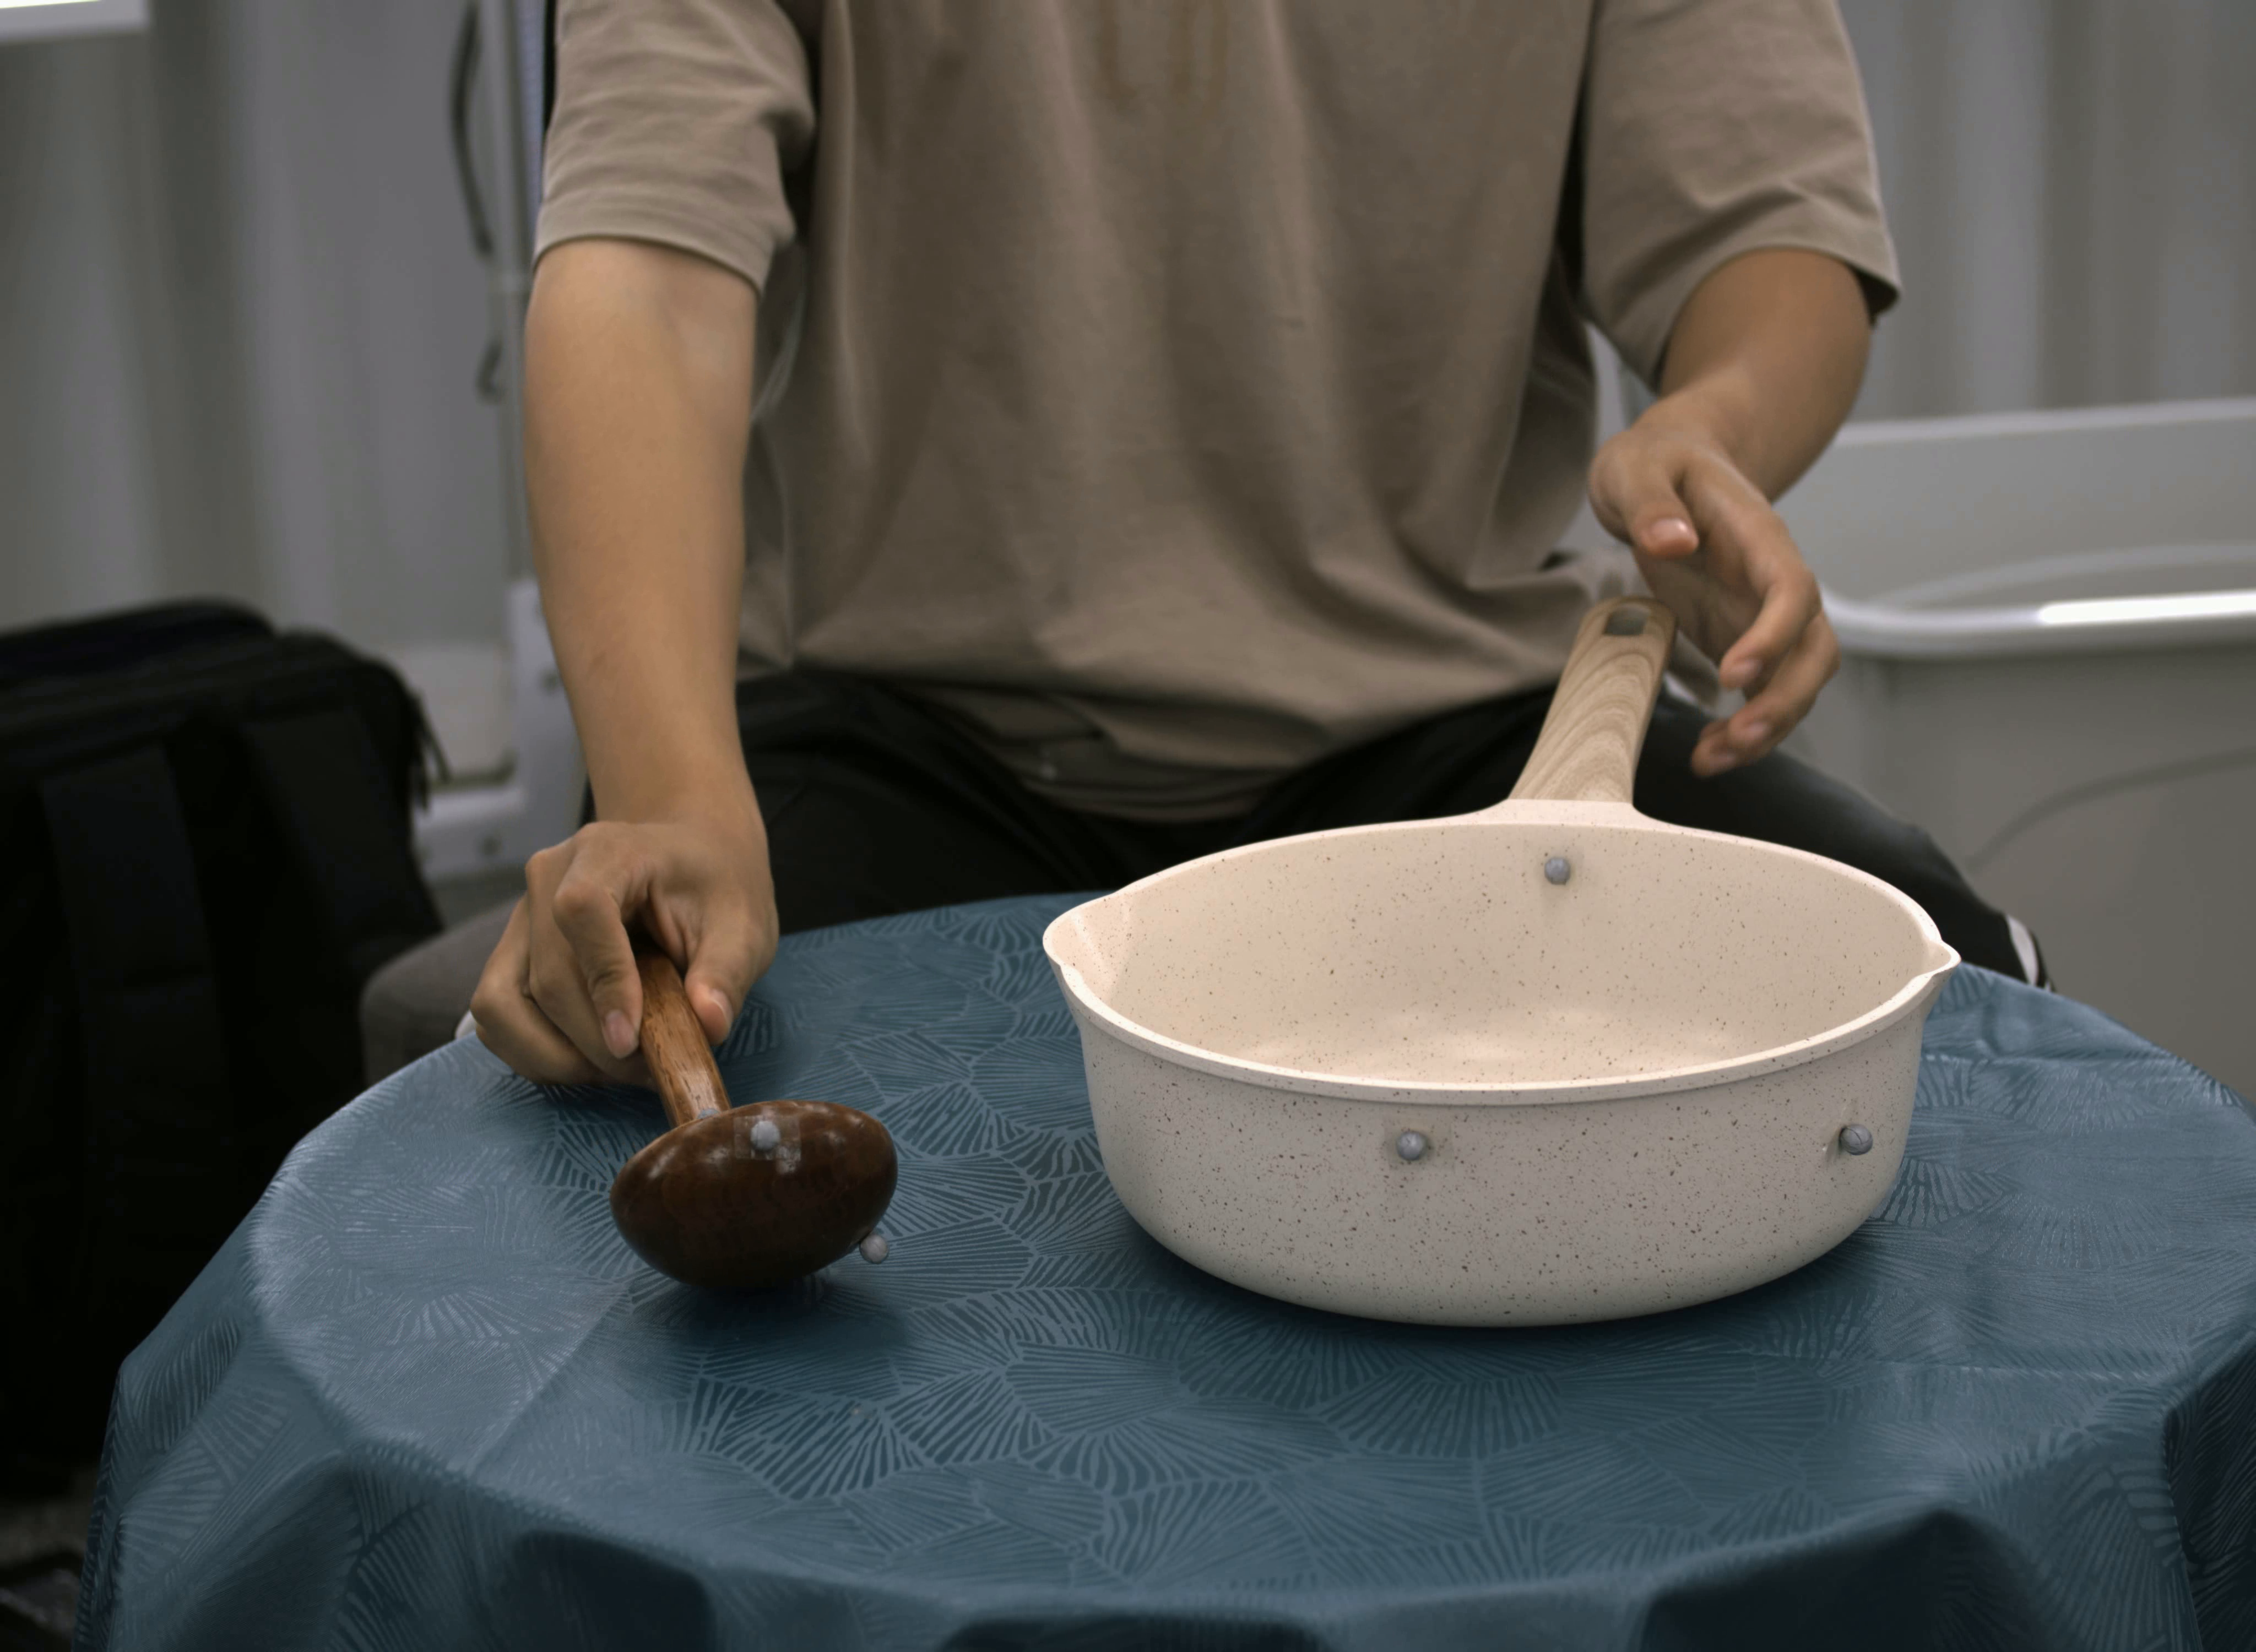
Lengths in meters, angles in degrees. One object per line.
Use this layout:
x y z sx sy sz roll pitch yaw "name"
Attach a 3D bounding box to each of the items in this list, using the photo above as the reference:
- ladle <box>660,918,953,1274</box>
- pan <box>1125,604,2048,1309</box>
-0.109 0.057 1.565 0.081 0.076 0.278 -2 23 -11 "ladle"
0.149 0.035 1.597 0.265 0.102 0.432 0 16 13 "pan"
